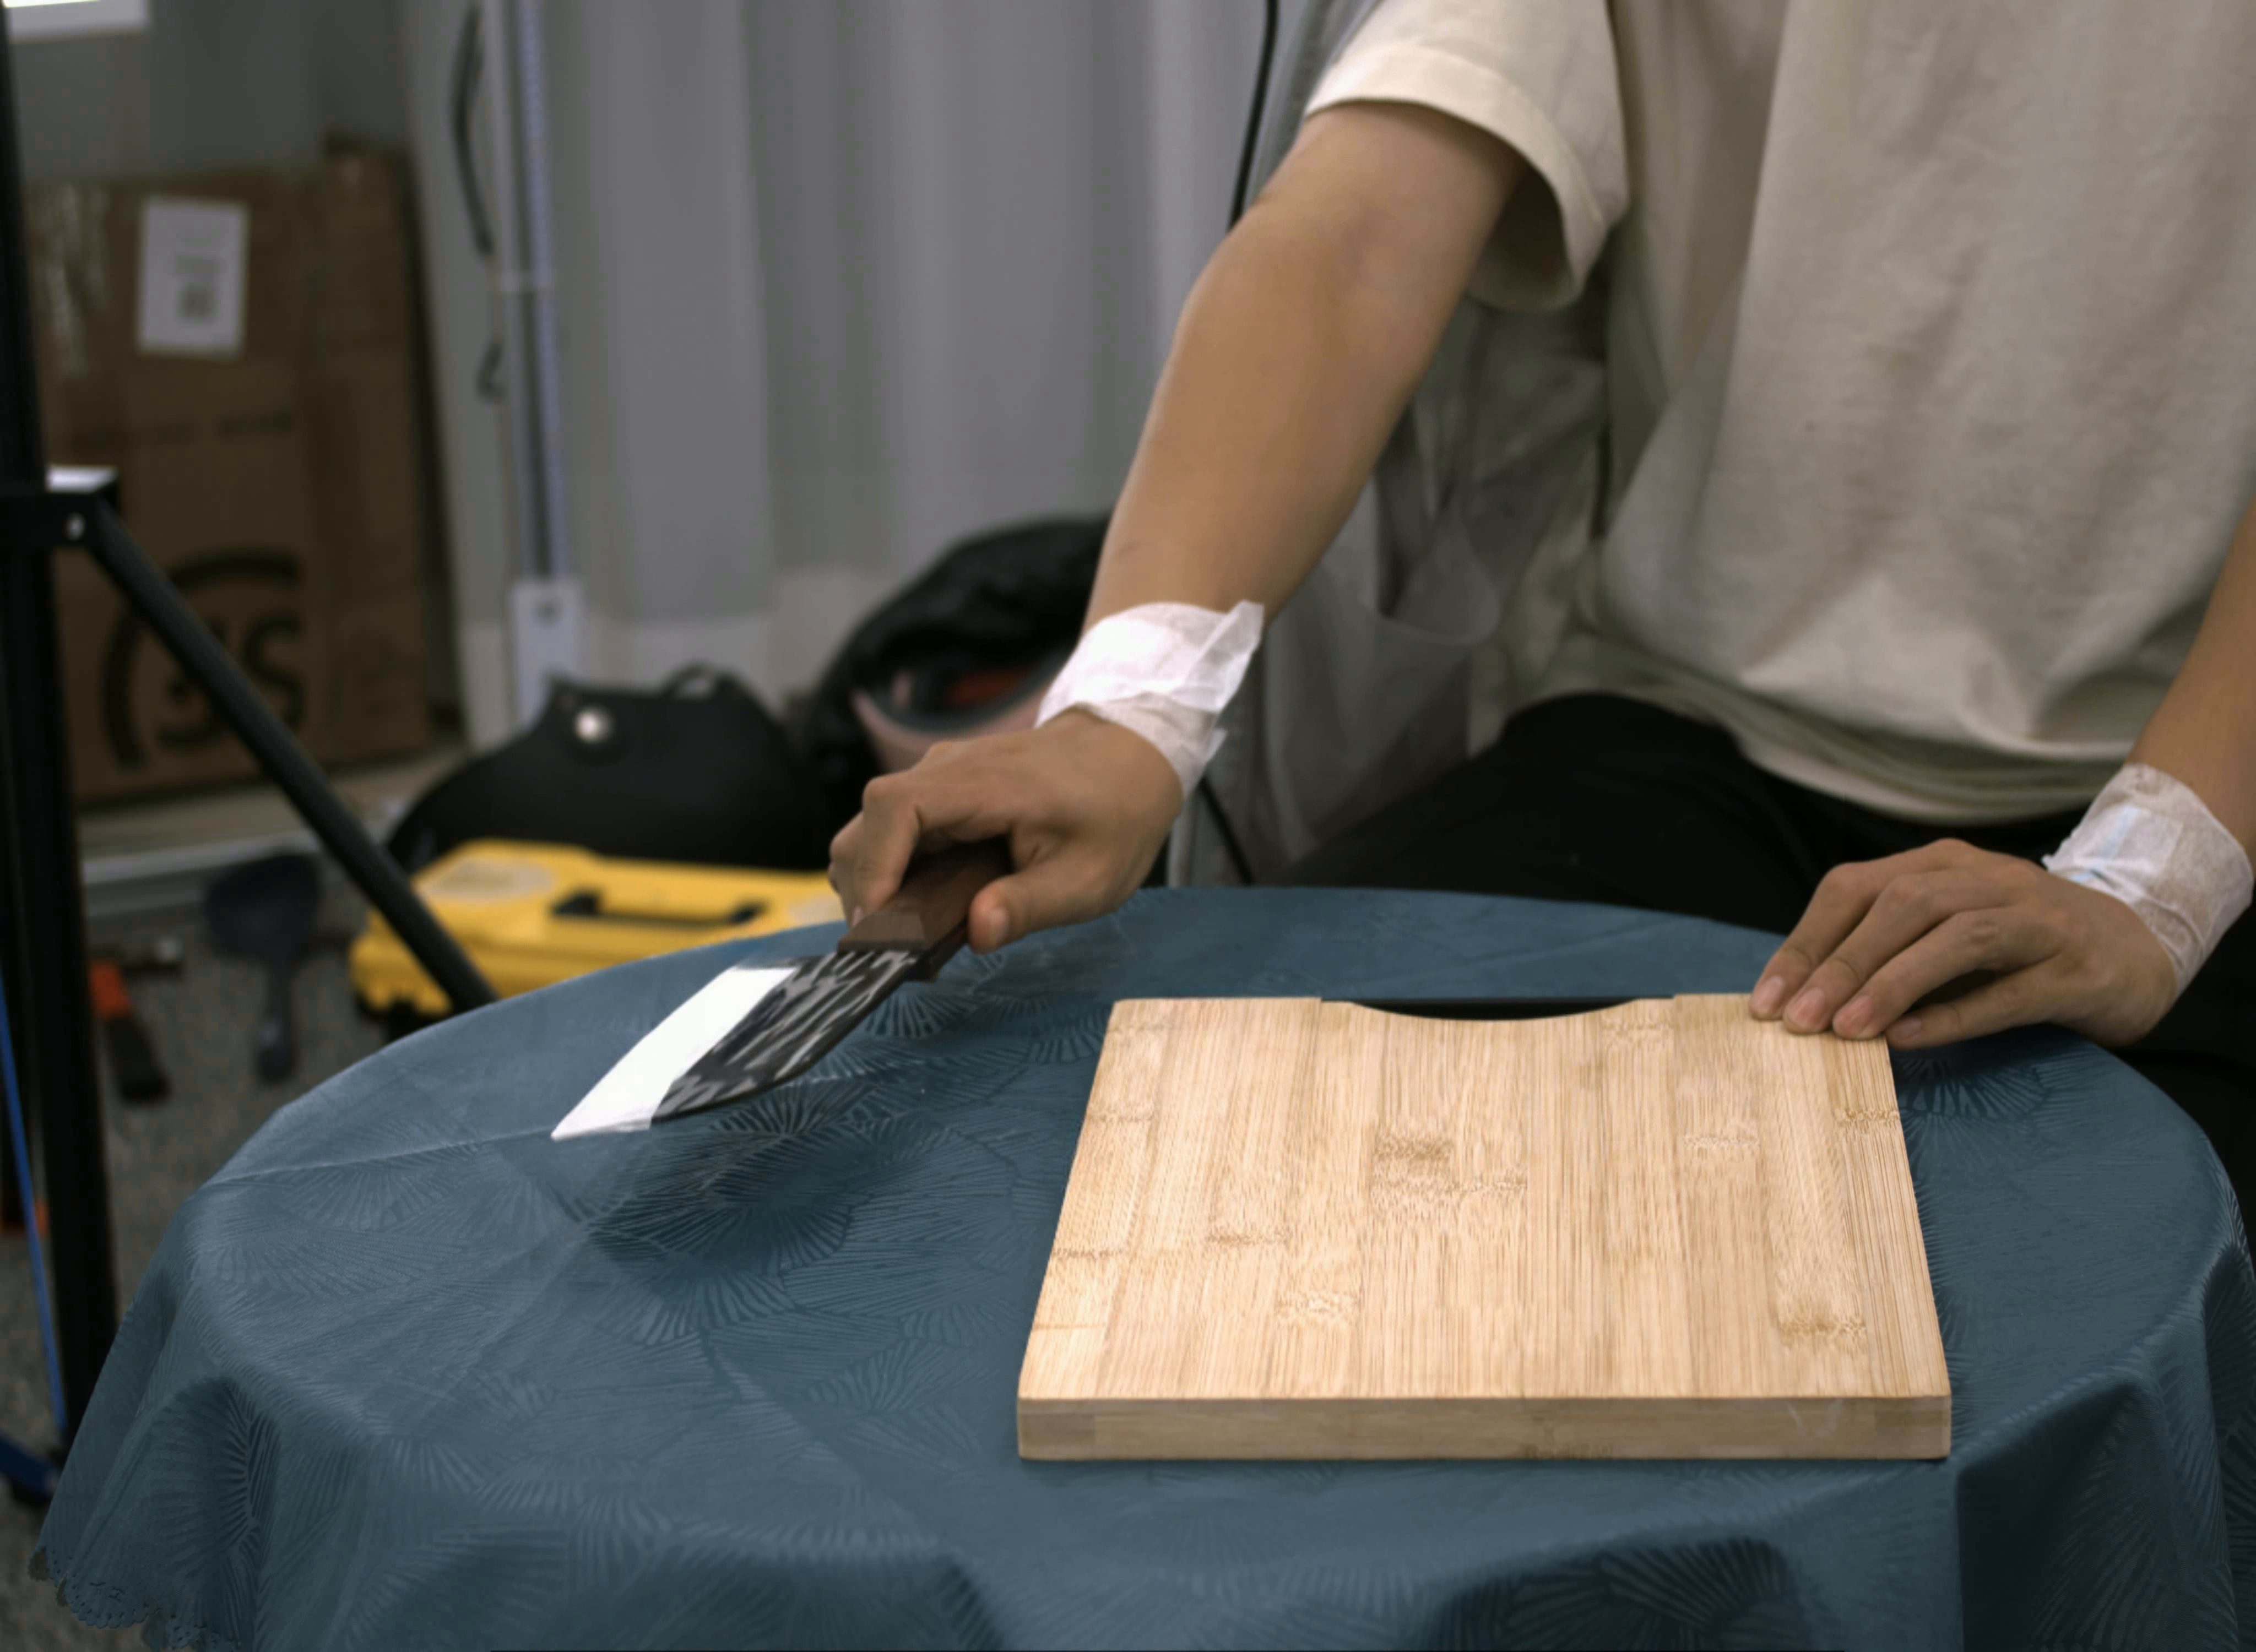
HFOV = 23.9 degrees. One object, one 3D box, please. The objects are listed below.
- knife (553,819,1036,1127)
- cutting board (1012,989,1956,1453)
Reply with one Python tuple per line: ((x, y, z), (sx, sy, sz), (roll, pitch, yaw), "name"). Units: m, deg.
((-0.098, 0.046, 1.640), (0.069, 0.024, 0.296), (-5, 13, 19), "knife")
((0.104, 0.107, 1.511), (0.250, 0.023, 0.349), (-1, 15, 4), "cutting board")
